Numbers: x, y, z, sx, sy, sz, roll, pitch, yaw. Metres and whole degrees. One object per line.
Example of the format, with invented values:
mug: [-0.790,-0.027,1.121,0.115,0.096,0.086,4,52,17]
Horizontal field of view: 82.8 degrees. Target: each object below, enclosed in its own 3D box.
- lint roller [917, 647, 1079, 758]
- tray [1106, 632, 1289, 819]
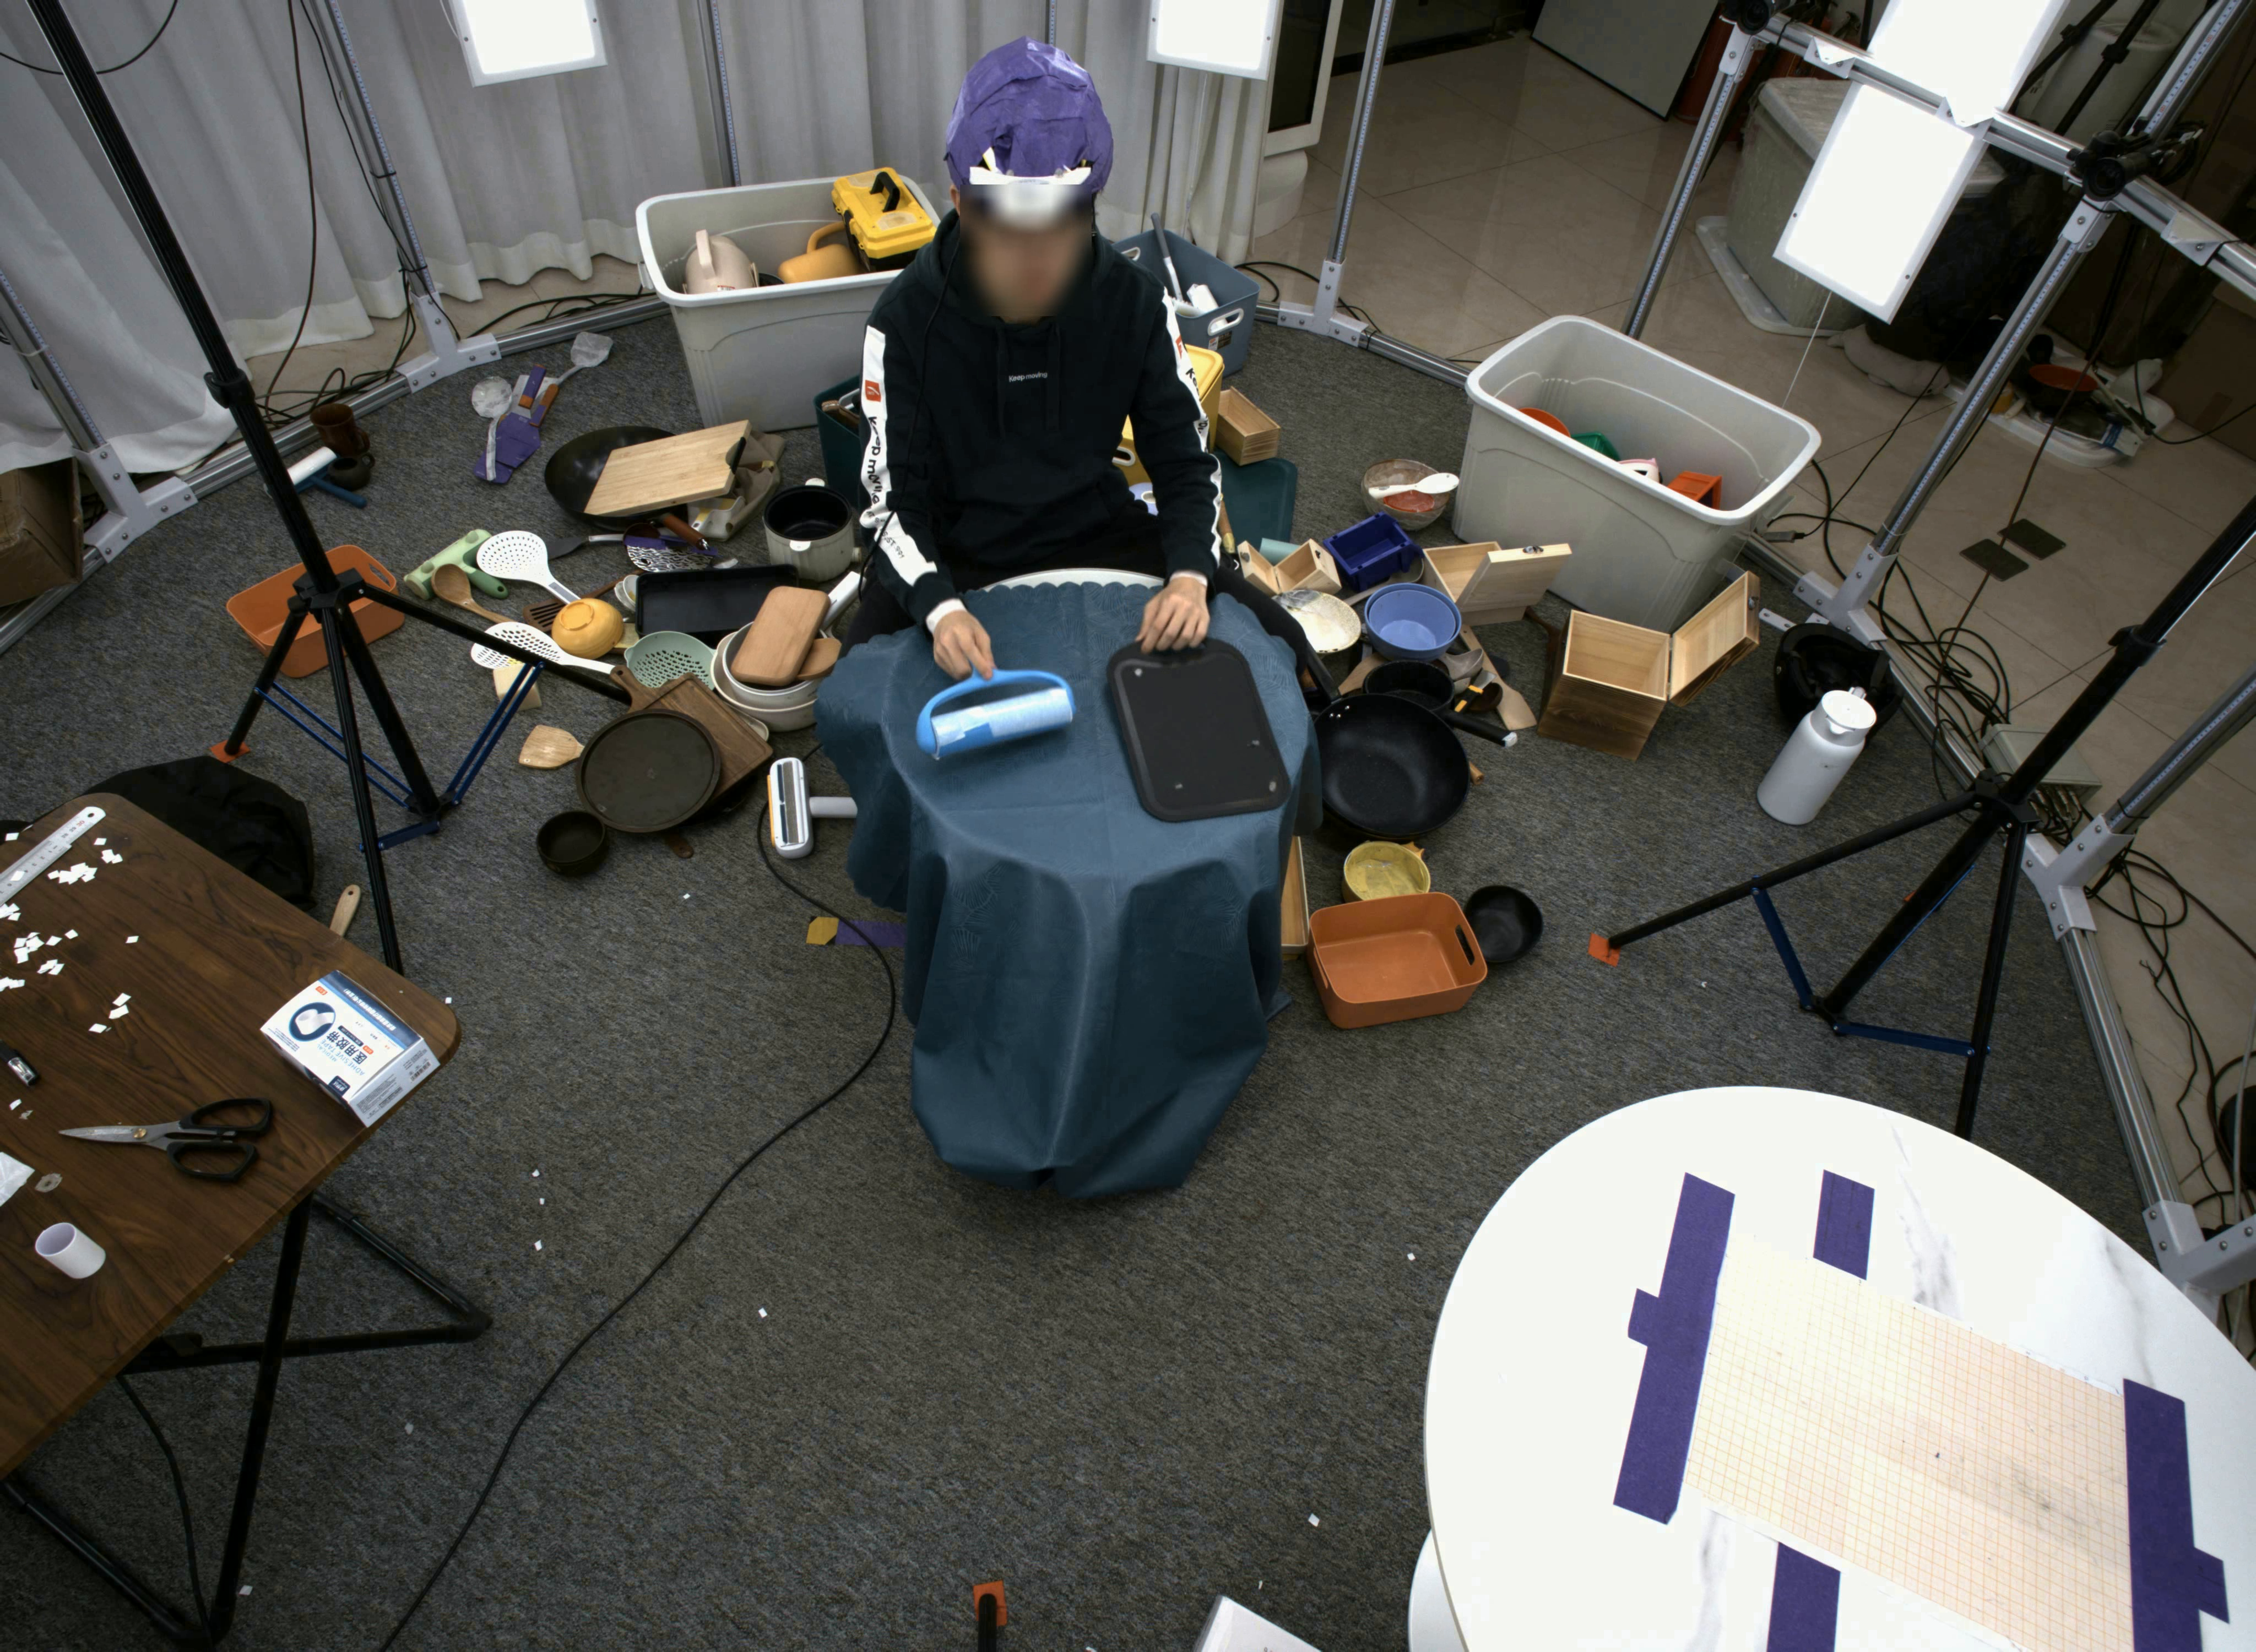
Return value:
lint roller: [-0.198,-0.189,1.740,0.229,0.066,0.183,-21,62,-22]
tray: [0.090,-0.150,1.779,0.211,0.009,0.333,-7,55,-11]
